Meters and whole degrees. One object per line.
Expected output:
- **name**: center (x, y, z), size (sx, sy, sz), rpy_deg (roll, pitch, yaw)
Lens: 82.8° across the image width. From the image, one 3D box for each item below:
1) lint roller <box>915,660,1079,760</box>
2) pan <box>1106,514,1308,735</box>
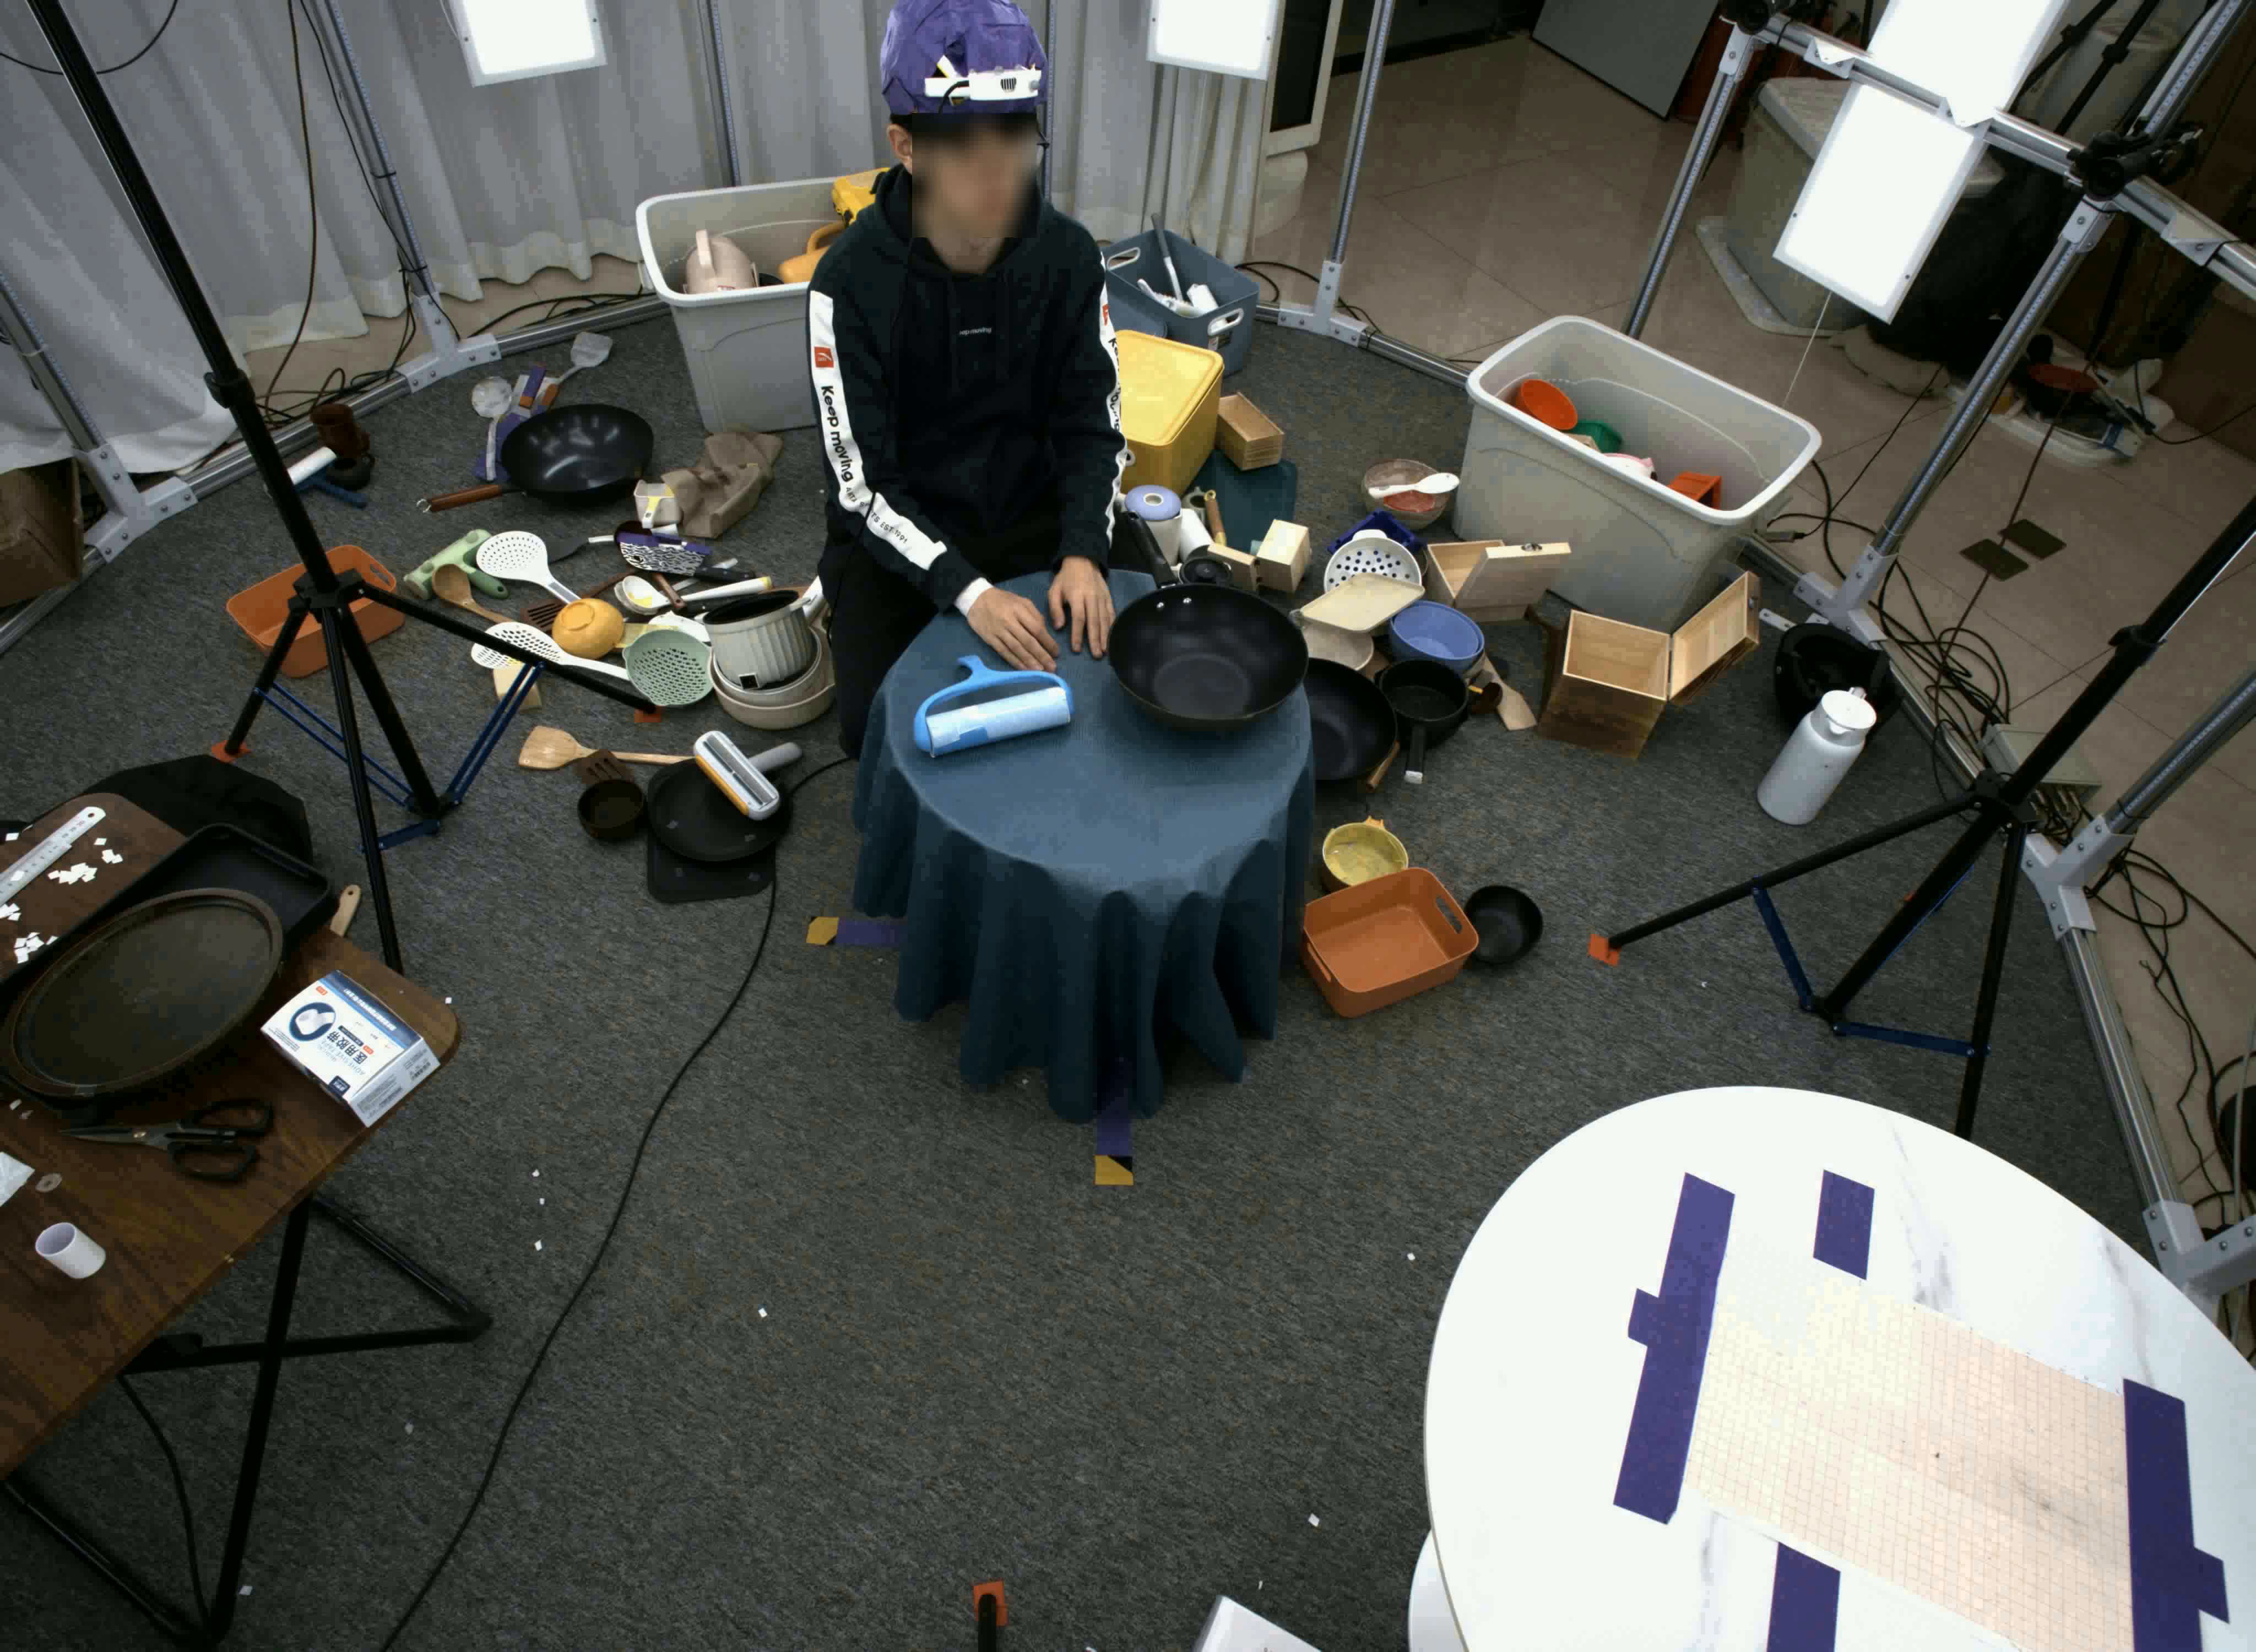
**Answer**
- **lint roller**: center (-0.201, -0.184, 1.779), size (0.229, 0.066, 0.184), rpy_deg (-19, 54, -17)
- **pan**: center (0.078, -0.288, 1.871), size (0.288, 0.085, 0.474), rpy_deg (-12, 50, -15)
